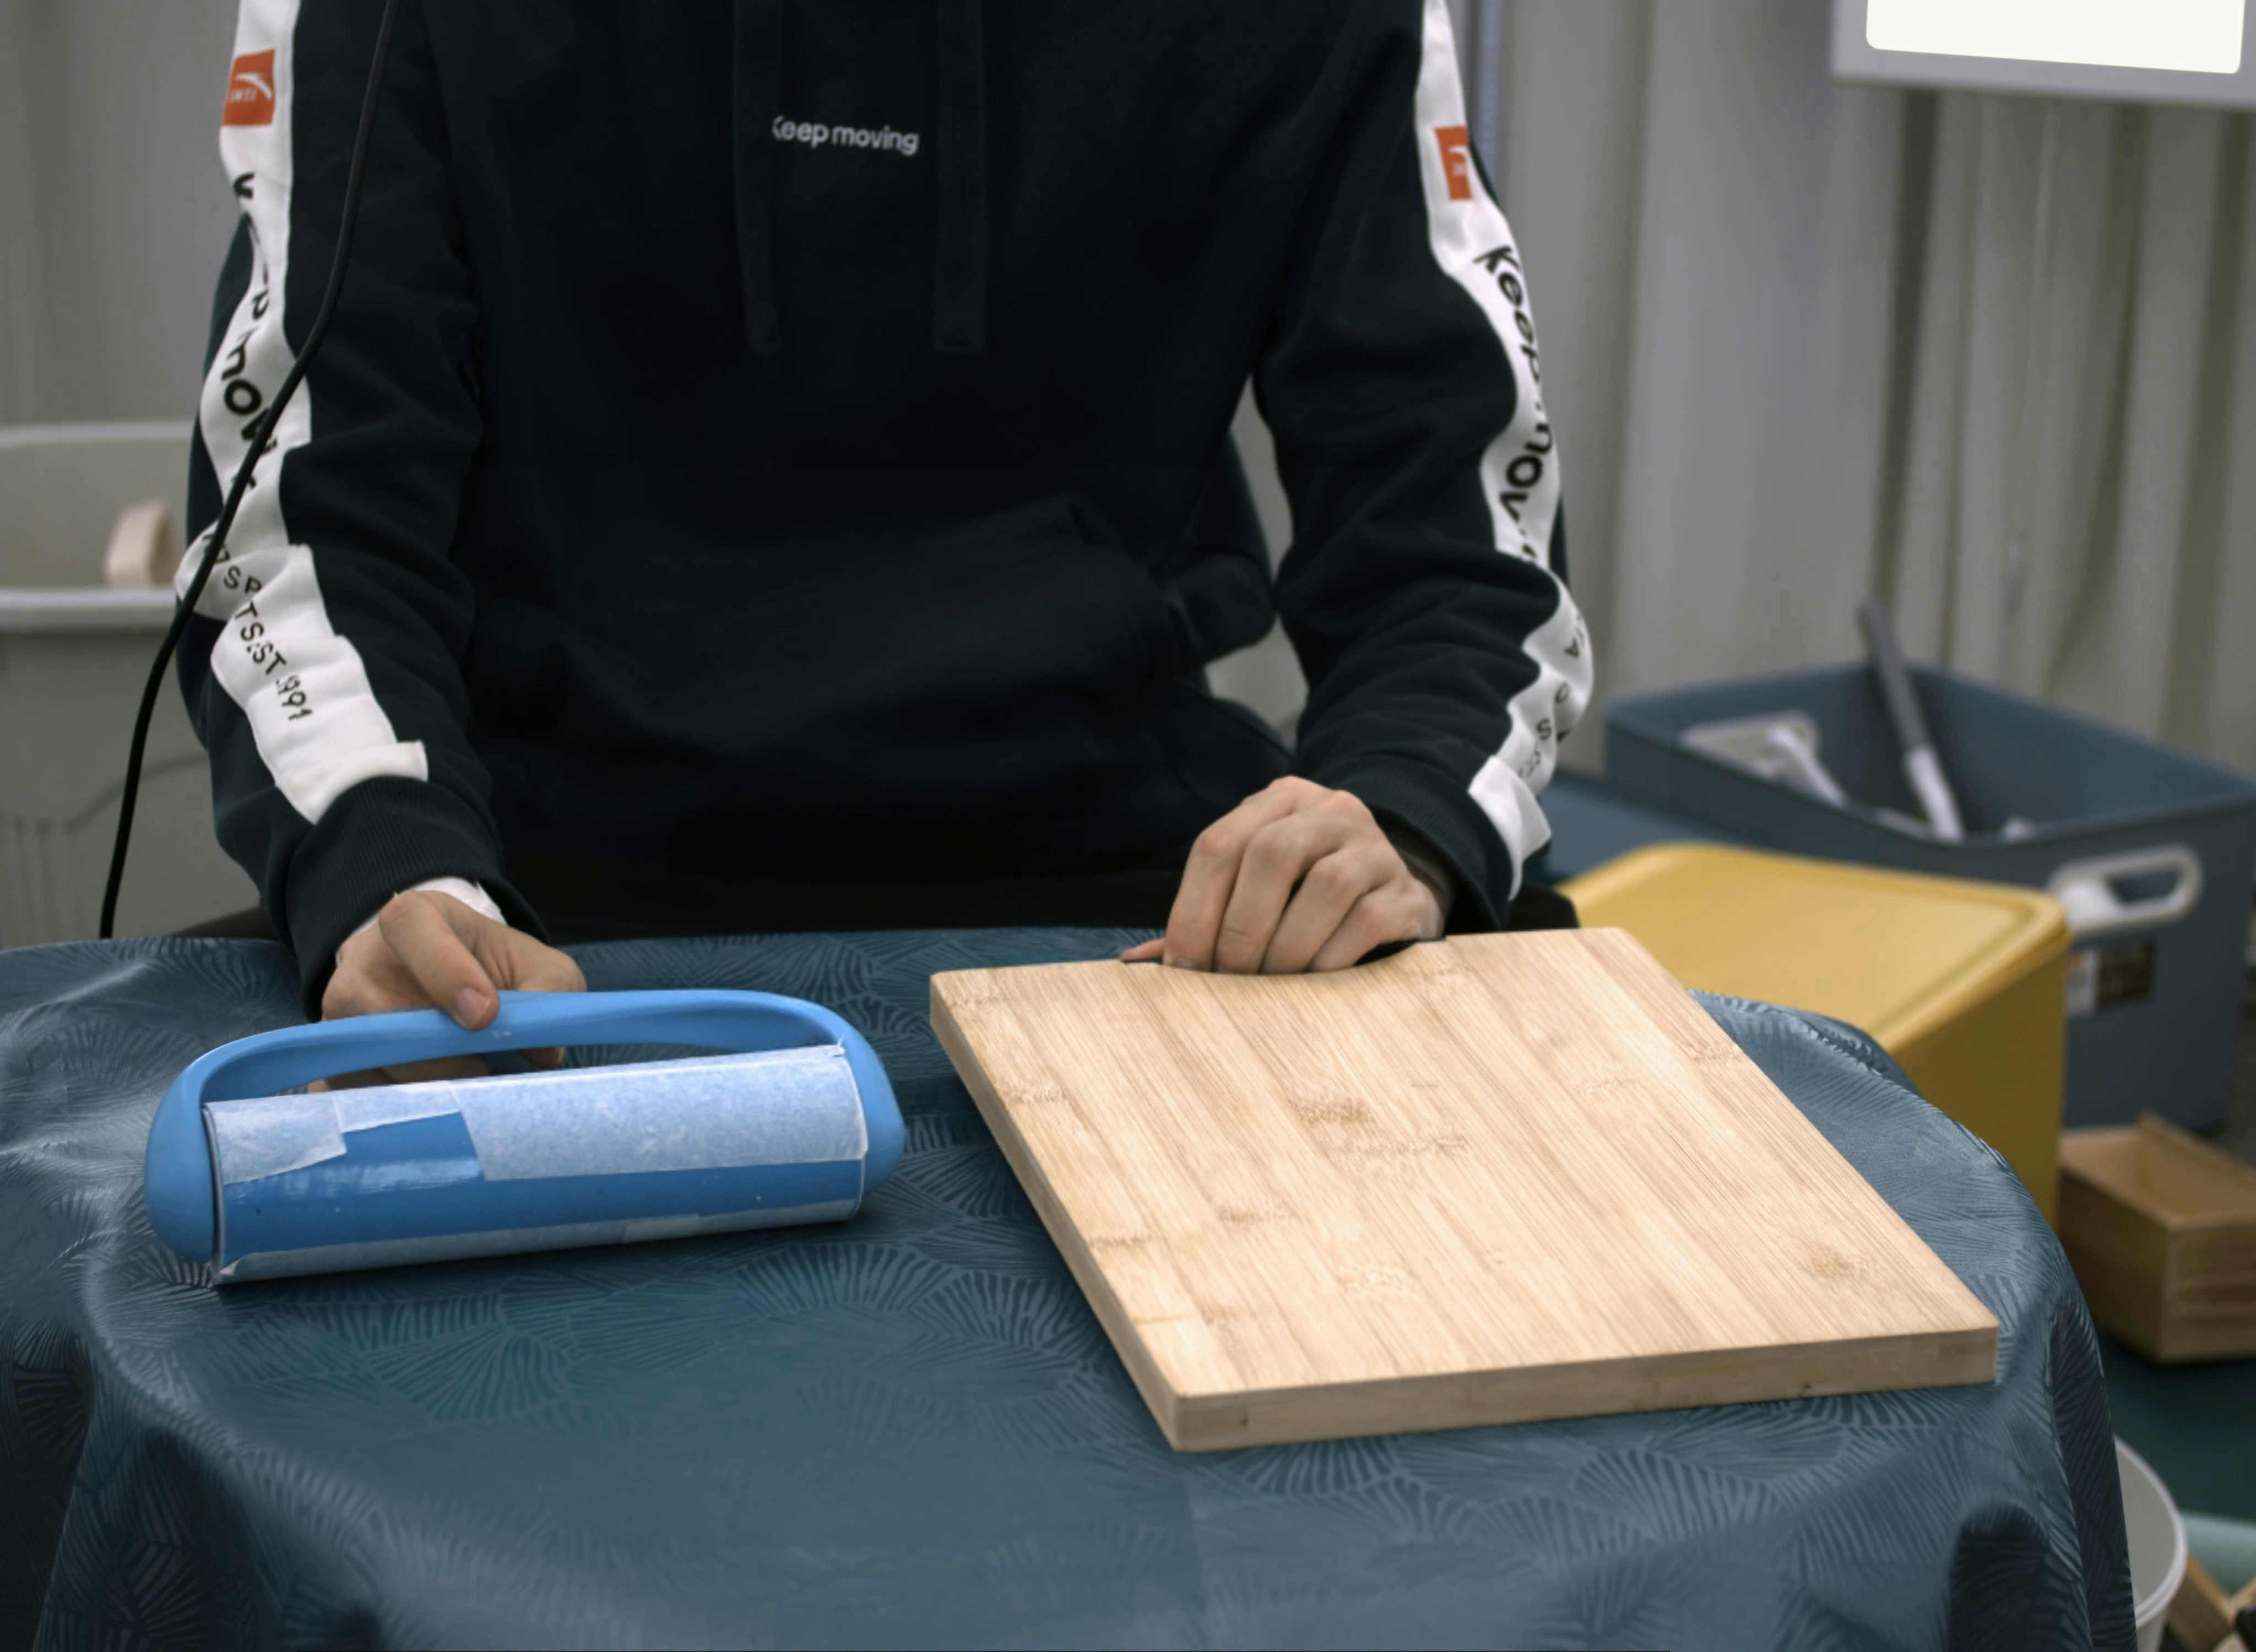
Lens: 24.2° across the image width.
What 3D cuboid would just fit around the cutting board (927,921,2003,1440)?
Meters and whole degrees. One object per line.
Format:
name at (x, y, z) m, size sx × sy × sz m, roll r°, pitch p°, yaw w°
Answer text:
cutting board at (0.089, 0.101, 1.600) m, size 0.251 × 0.024 × 0.345 m, roll -3°, pitch 19°, yaw -14°

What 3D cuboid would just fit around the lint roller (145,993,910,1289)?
lint roller at (-0.196, 0.083, 1.610) m, size 0.229 × 0.068 × 0.178 m, roll -7°, pitch 18°, yaw -20°
